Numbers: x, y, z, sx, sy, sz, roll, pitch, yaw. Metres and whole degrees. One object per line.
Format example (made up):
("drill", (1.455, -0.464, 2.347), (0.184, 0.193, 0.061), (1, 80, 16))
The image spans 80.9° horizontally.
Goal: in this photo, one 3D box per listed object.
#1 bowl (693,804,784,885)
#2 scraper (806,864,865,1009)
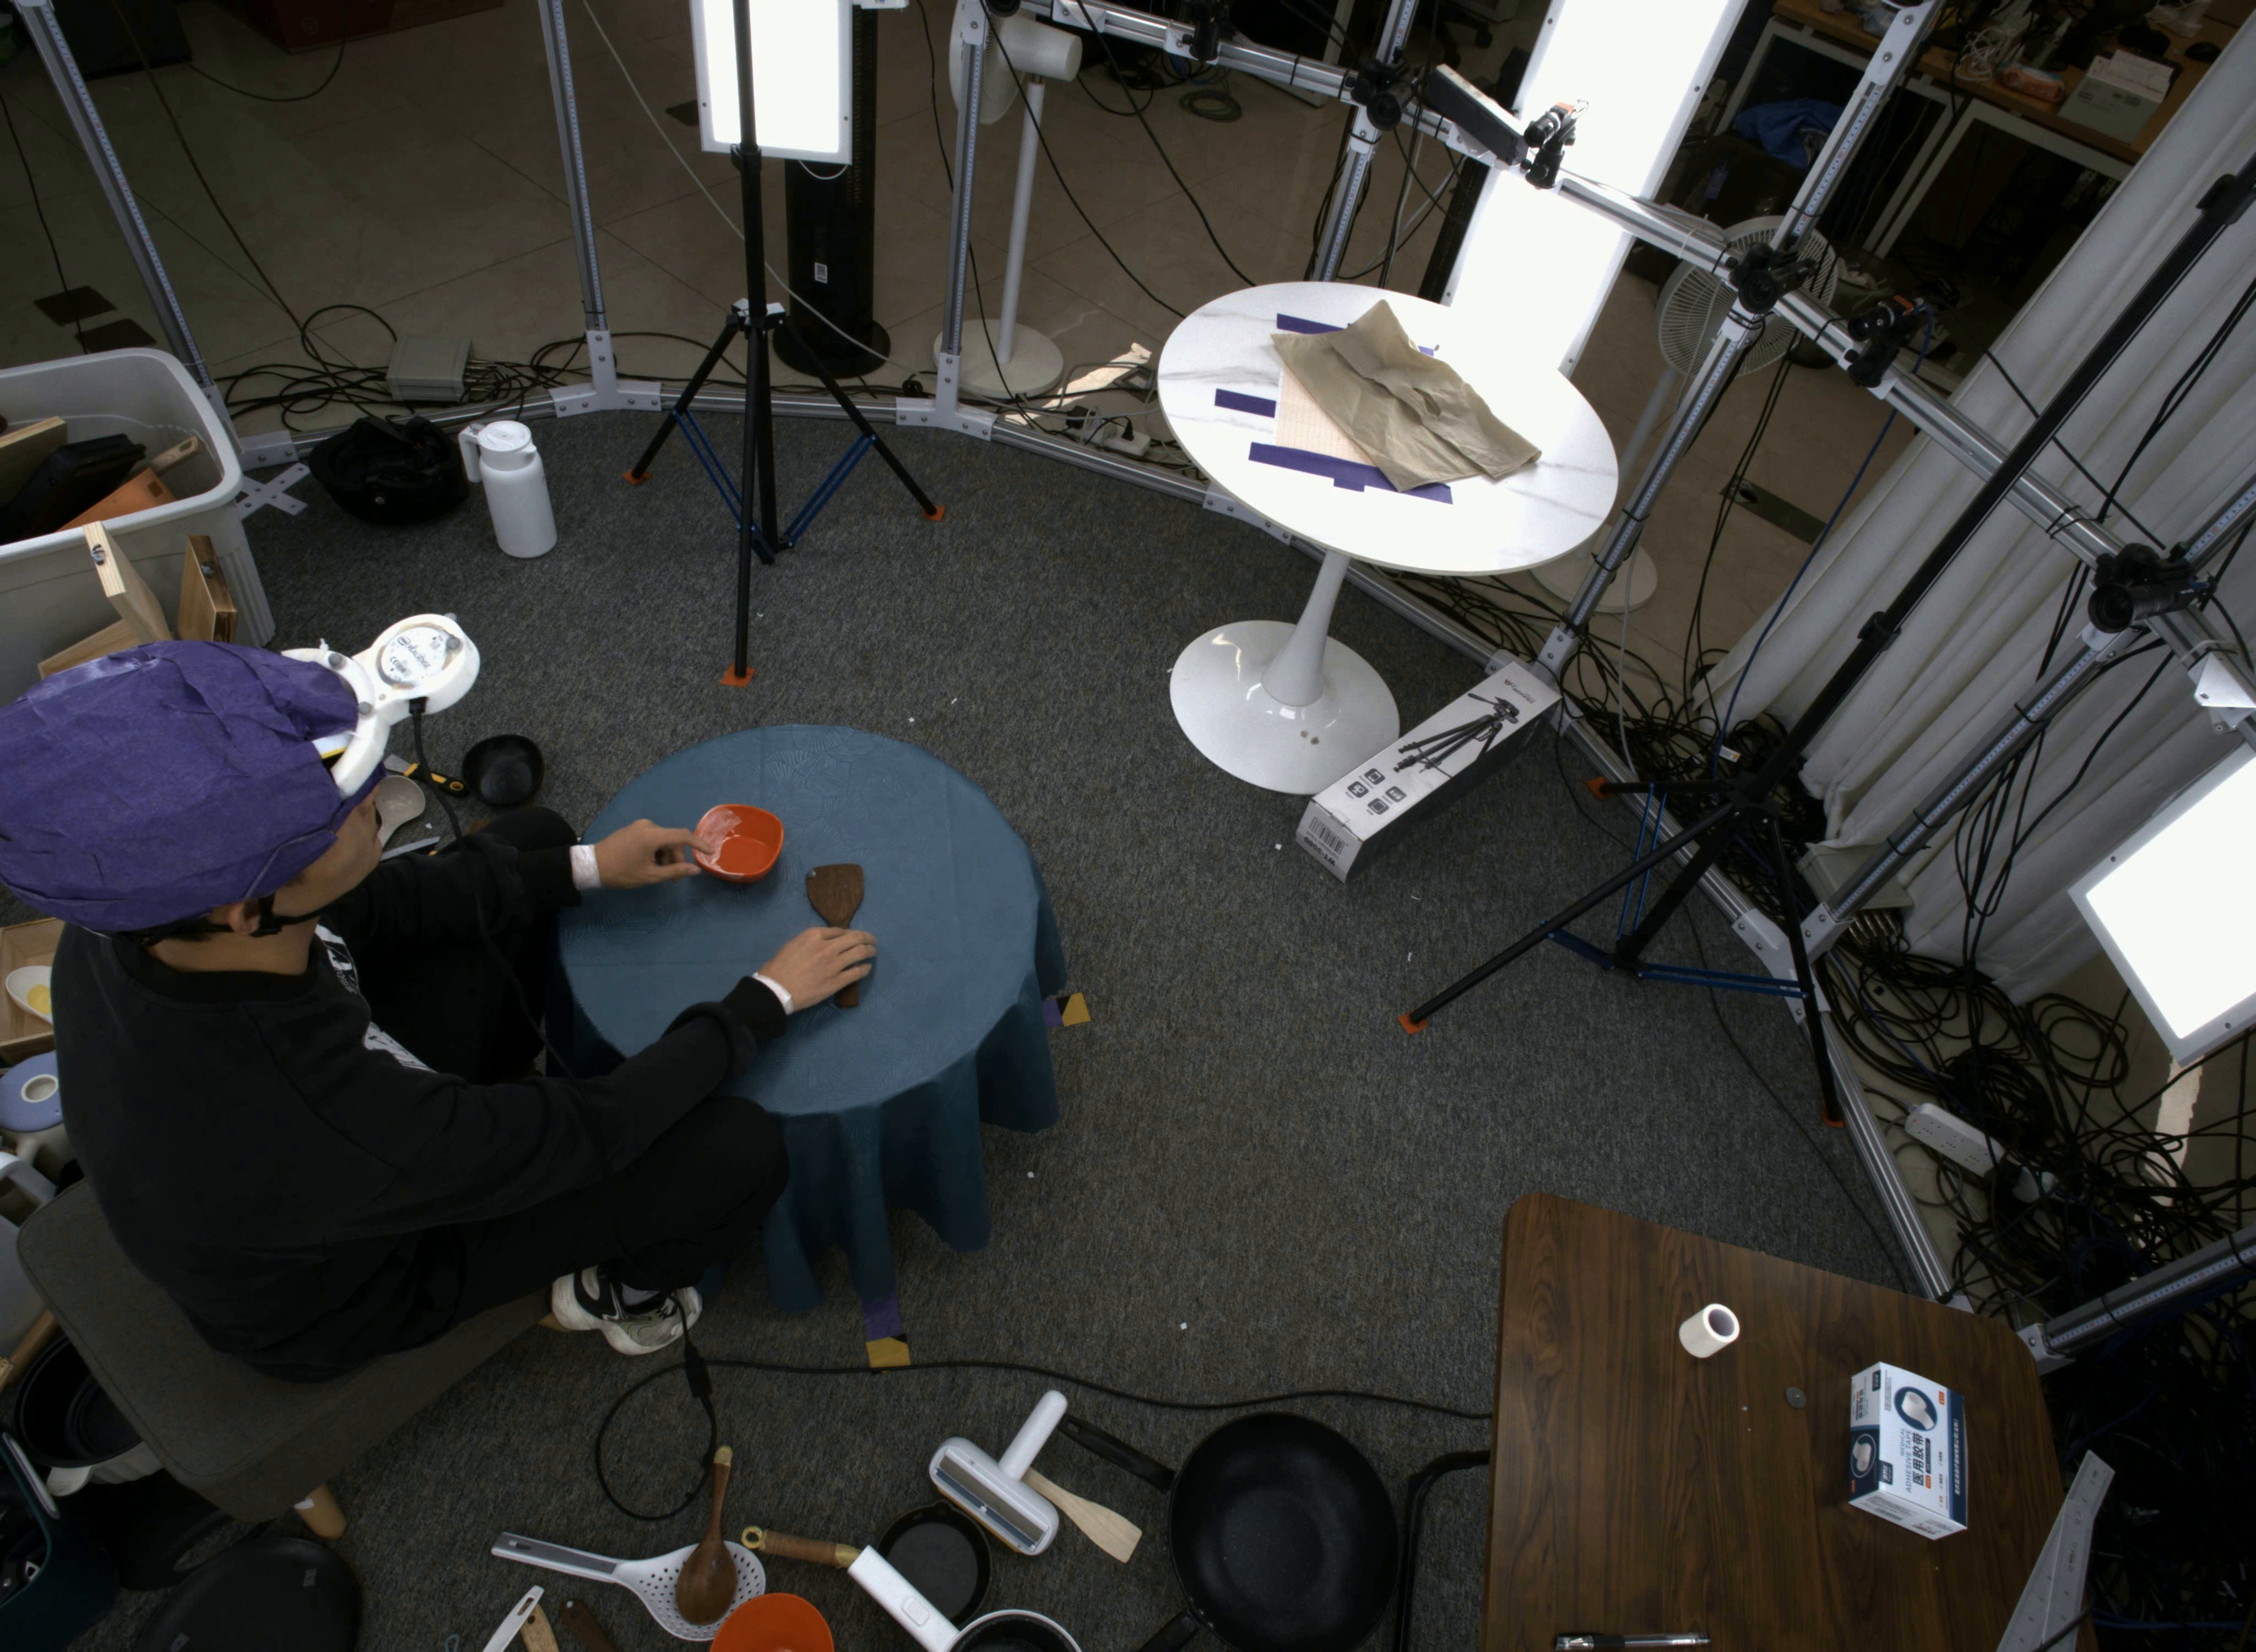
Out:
("bowl", (-0.498, 0.031, 1.655), (0.119, 0.052, 0.117), (9, 52, -10))
("scraper", (-0.362, 0.136, 1.639), (0.076, 0.011, 0.206), (-4, 56, -16))
